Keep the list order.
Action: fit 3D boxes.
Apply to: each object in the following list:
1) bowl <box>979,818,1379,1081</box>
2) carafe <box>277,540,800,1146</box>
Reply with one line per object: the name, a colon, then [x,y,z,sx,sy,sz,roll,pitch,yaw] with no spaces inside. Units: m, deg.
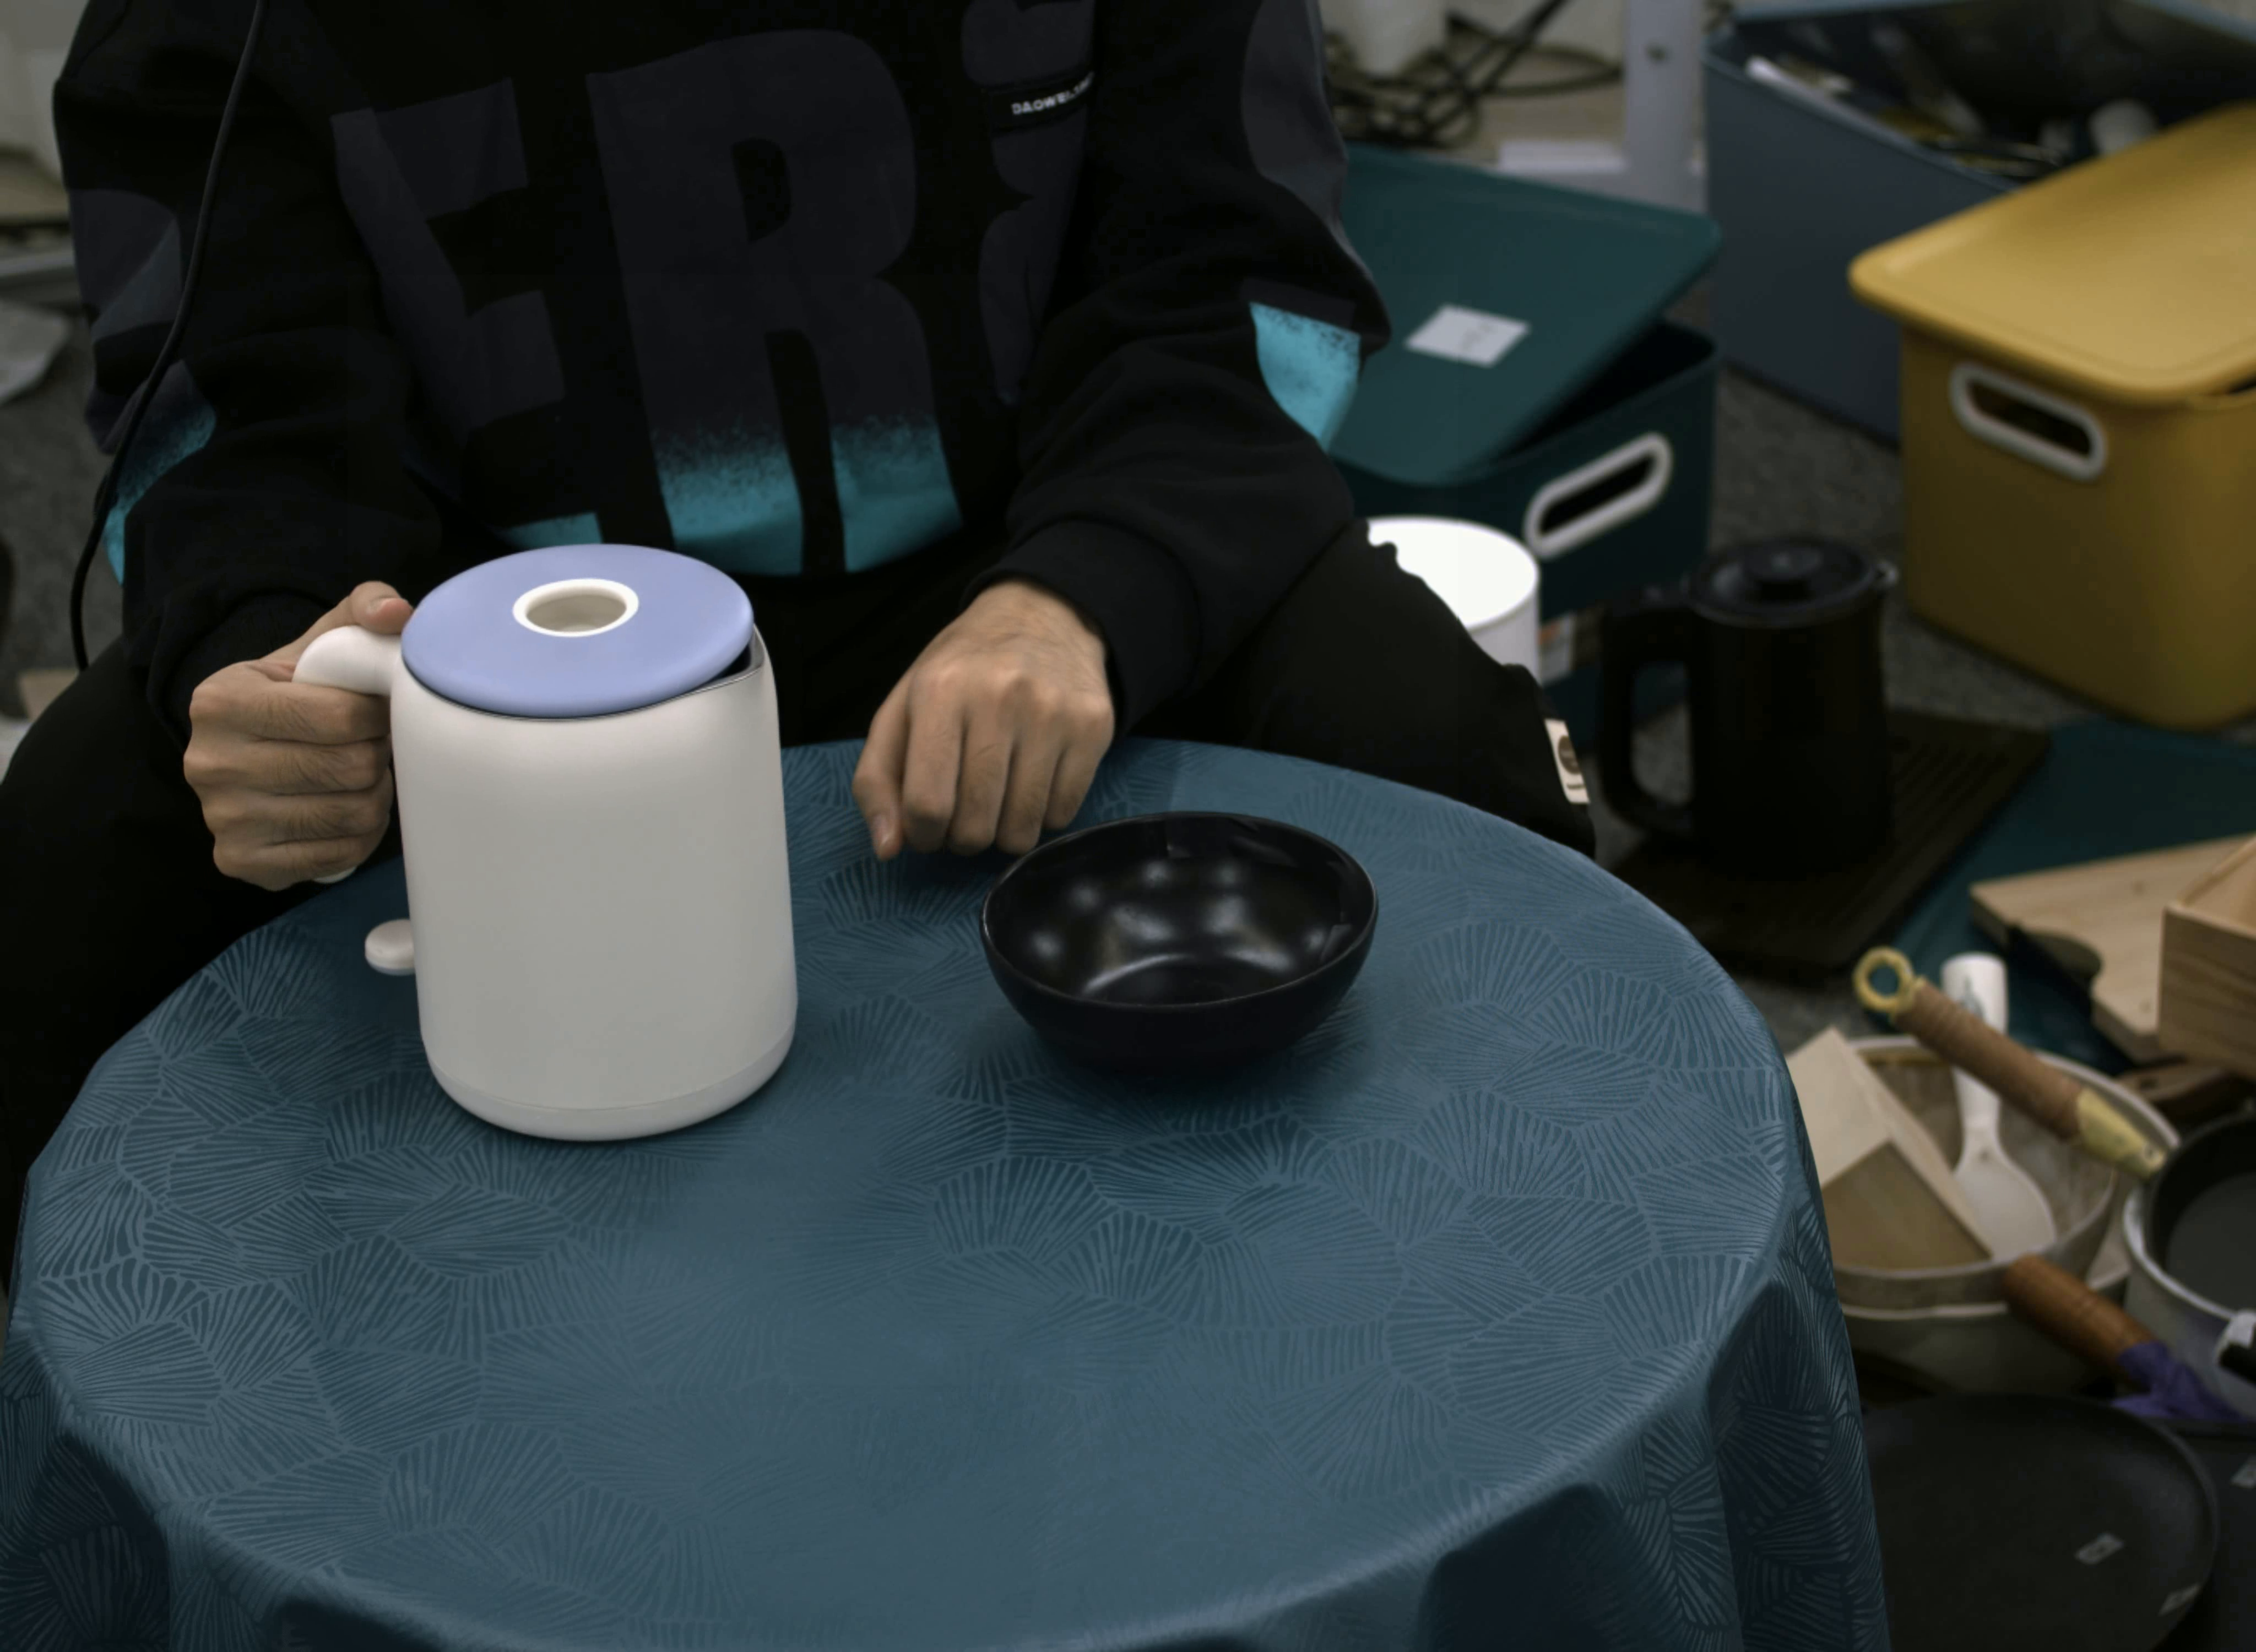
bowl: [0.019,0.050,1.945,0.139,0.049,0.142,-3,26,2]
carafe: [-0.204,0.003,1.923,0.190,0.181,0.134,6,27,20]
